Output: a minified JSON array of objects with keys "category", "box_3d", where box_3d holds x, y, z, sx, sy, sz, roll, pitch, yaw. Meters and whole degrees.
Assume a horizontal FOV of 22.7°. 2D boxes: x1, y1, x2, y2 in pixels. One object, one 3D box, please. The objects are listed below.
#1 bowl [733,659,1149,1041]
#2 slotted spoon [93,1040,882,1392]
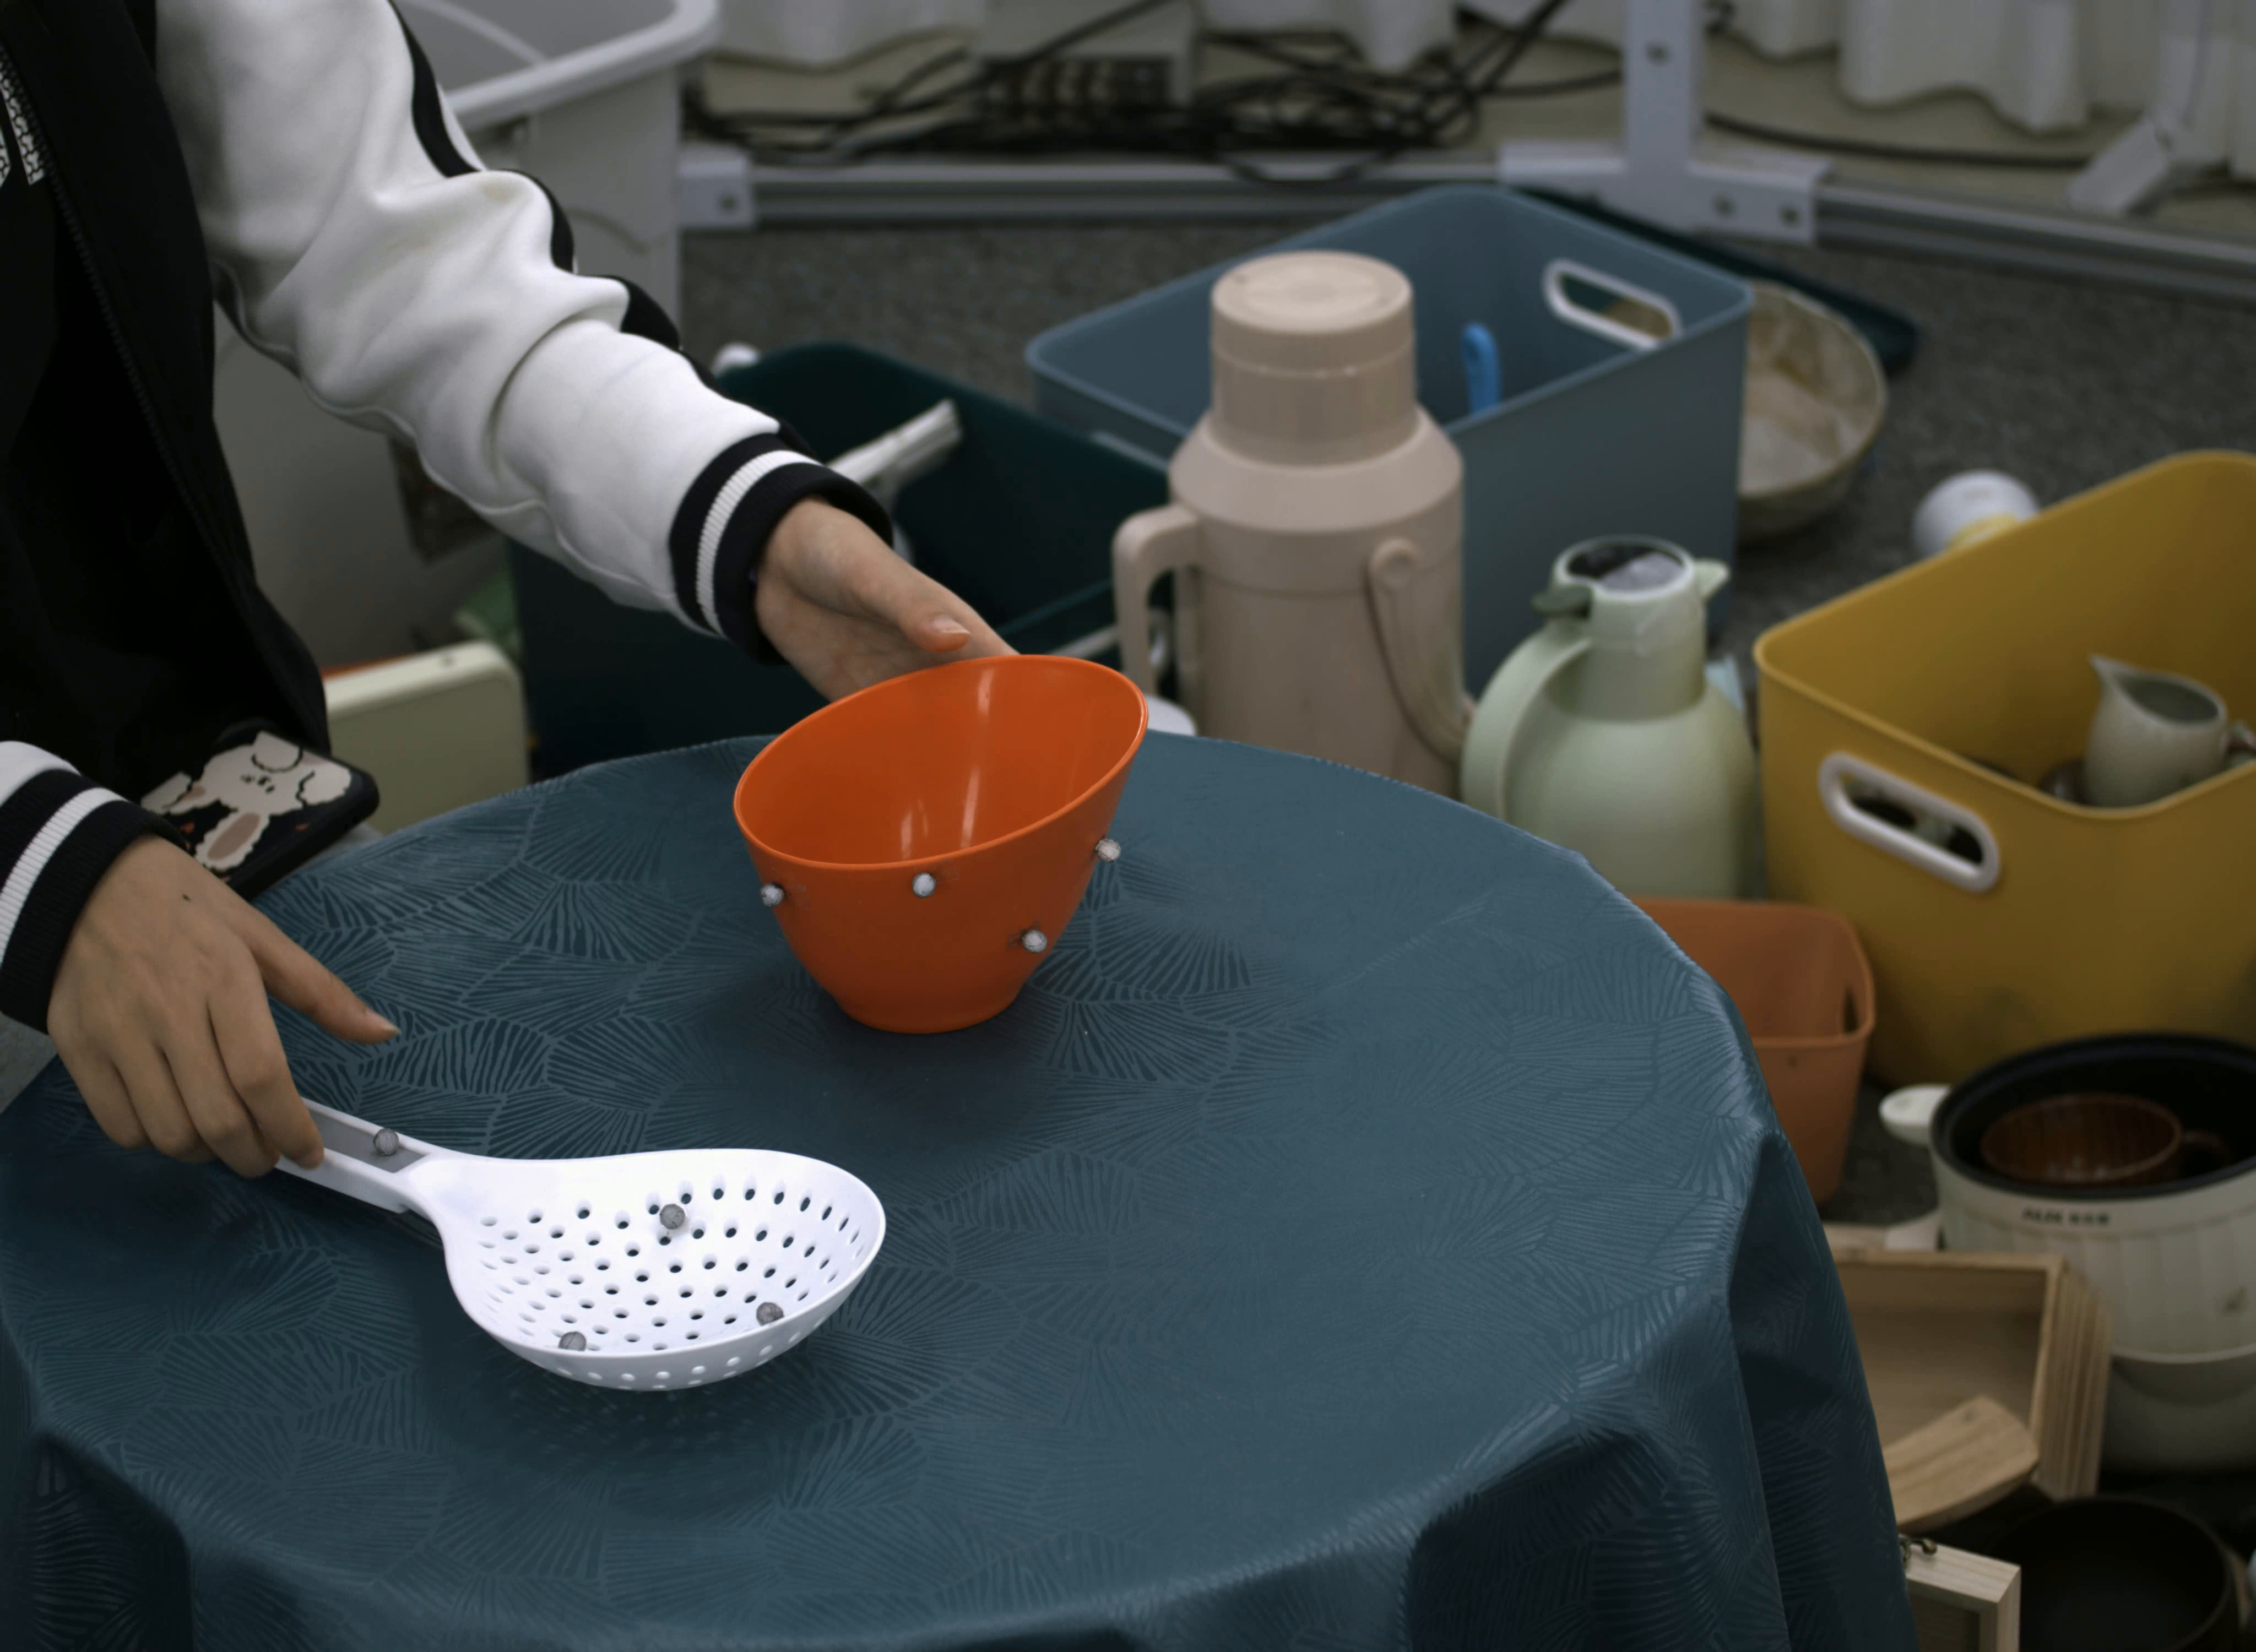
[{"category":"bowl","box_3d":[-0.062,0.014,1.968,0.147,0.103,0.150,-3,28,2]},{"category":"slotted spoon","box_3d":[-0.223,0.120,1.839,0.349,0.045,0.138,20,34,38]}]
